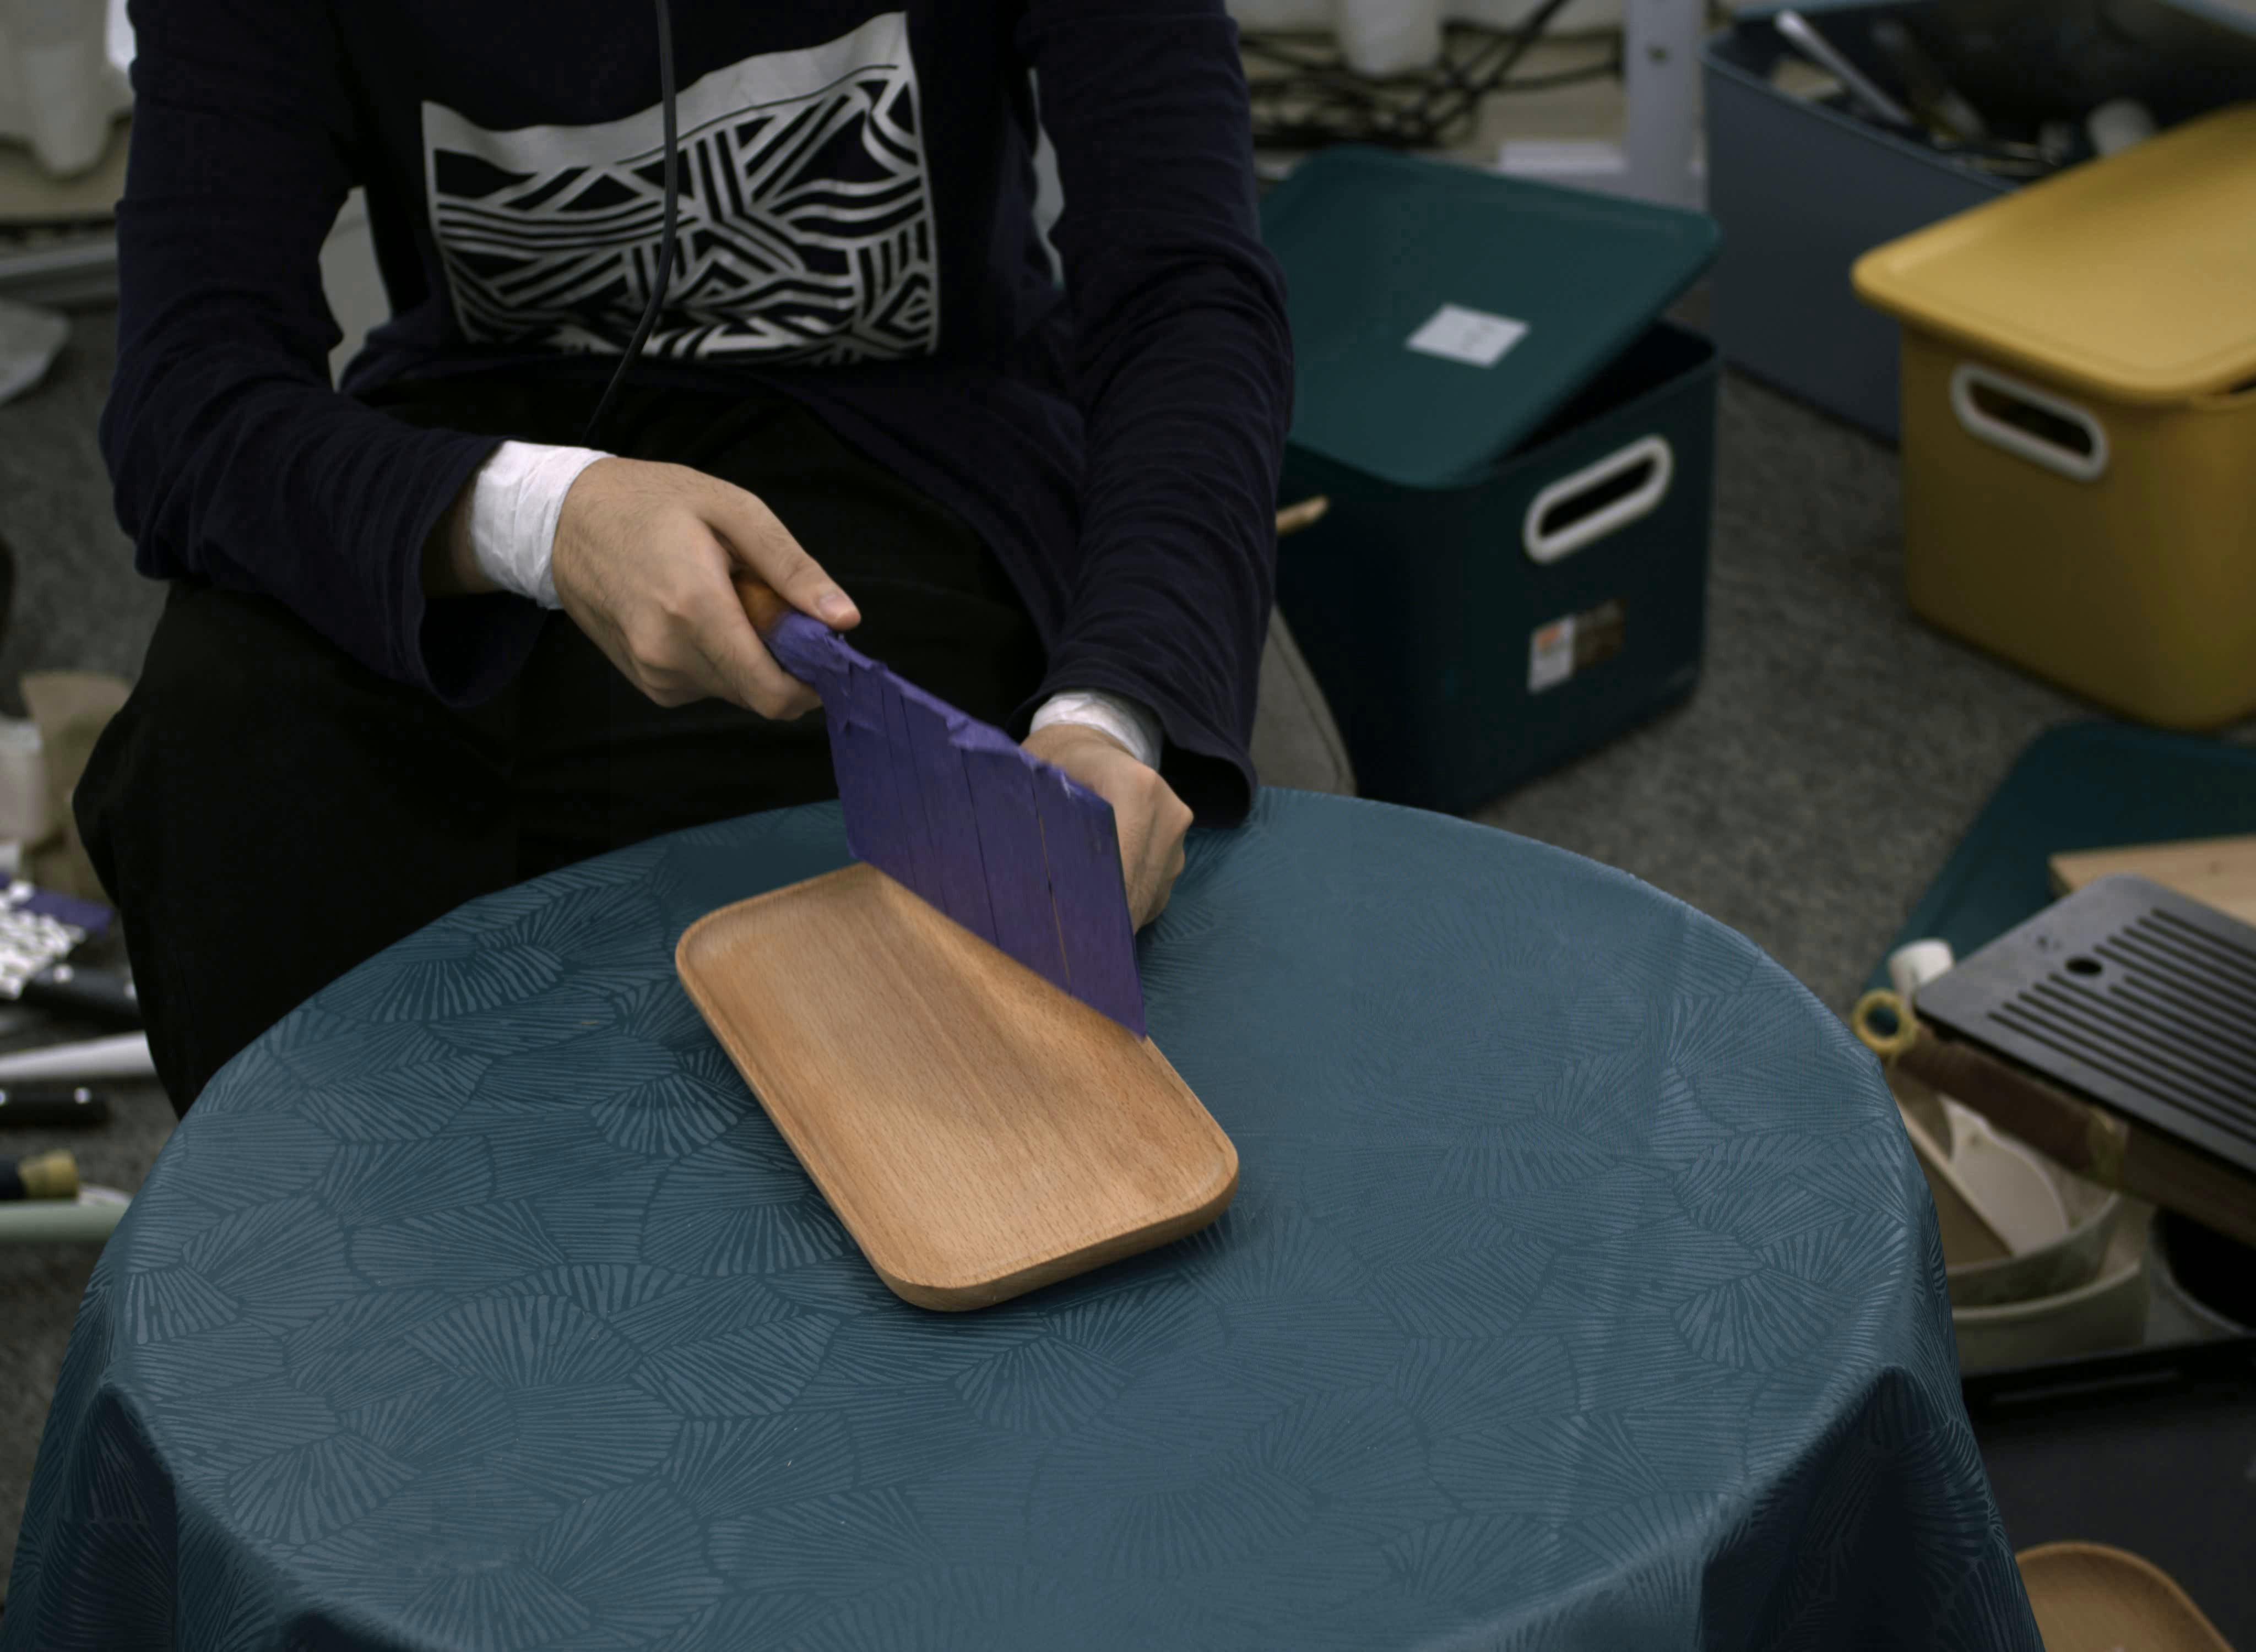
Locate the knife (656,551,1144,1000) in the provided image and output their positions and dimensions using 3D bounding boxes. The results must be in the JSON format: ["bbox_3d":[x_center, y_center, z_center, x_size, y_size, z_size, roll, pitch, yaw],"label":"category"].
[{"bbox_3d":[-0.082,-0.017,1.953,0.032,0.103,0.316,-18,24,-24],"label":"knife"}]

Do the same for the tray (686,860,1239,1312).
[{"bbox_3d":[-0.059,0.081,1.902,0.131,0.022,0.253,-14,32,-16],"label":"tray"}]
